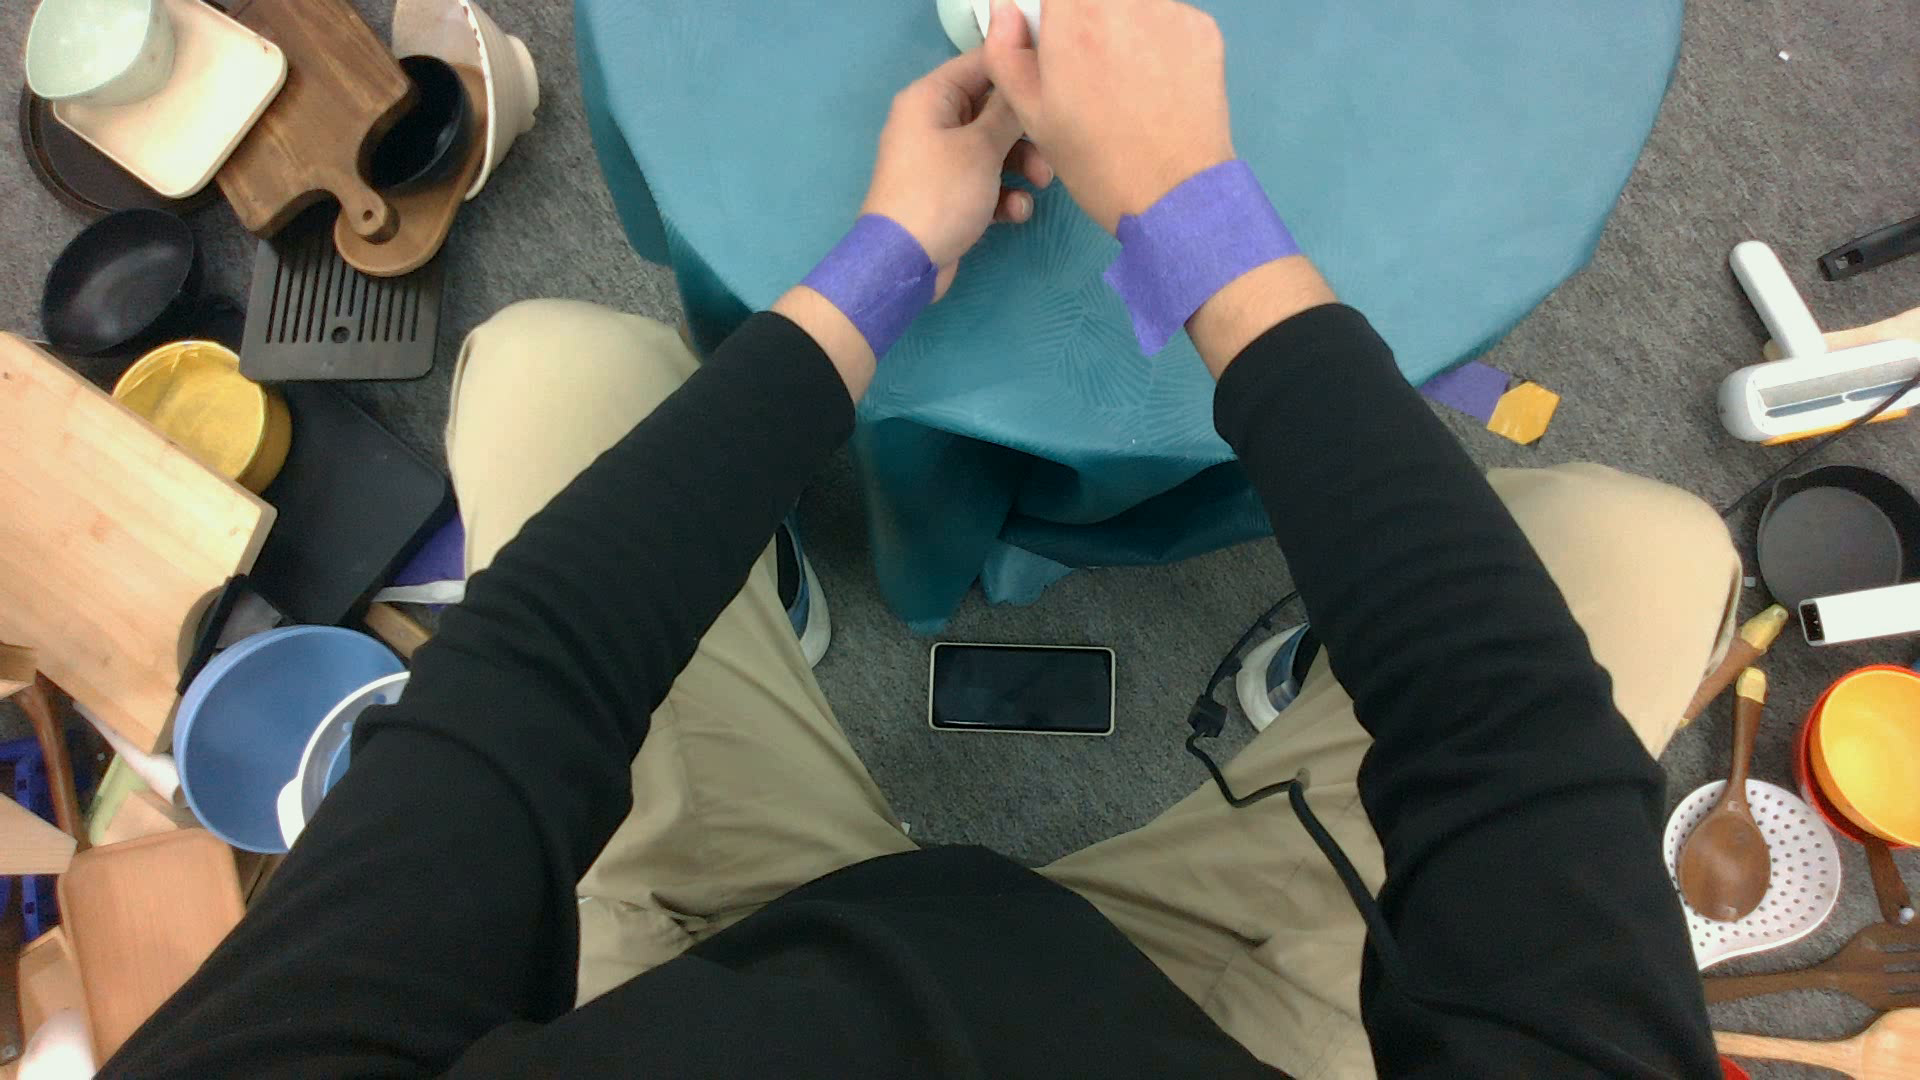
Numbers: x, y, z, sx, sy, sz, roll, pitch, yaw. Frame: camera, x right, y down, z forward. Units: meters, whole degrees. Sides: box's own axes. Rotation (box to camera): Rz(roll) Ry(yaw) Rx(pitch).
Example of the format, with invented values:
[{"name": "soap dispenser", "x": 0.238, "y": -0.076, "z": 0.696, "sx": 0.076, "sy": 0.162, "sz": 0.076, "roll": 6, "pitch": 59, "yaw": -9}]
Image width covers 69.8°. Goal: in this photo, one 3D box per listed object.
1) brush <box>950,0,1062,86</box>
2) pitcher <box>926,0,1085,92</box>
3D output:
[{"name": "brush", "x": 0.018, "y": -0.260, "z": 0.629, "sx": 0.050, "sy": 0.072, "sz": 0.099, "roll": -16, "pitch": 105, "yaw": 3}, {"name": "pitcher", "x": 0.026, "y": -0.282, "z": 0.714, "sx": 0.086, "sy": 0.060, "sz": 0.108, "roll": -13, "pitch": 86, "yaw": 0}]
